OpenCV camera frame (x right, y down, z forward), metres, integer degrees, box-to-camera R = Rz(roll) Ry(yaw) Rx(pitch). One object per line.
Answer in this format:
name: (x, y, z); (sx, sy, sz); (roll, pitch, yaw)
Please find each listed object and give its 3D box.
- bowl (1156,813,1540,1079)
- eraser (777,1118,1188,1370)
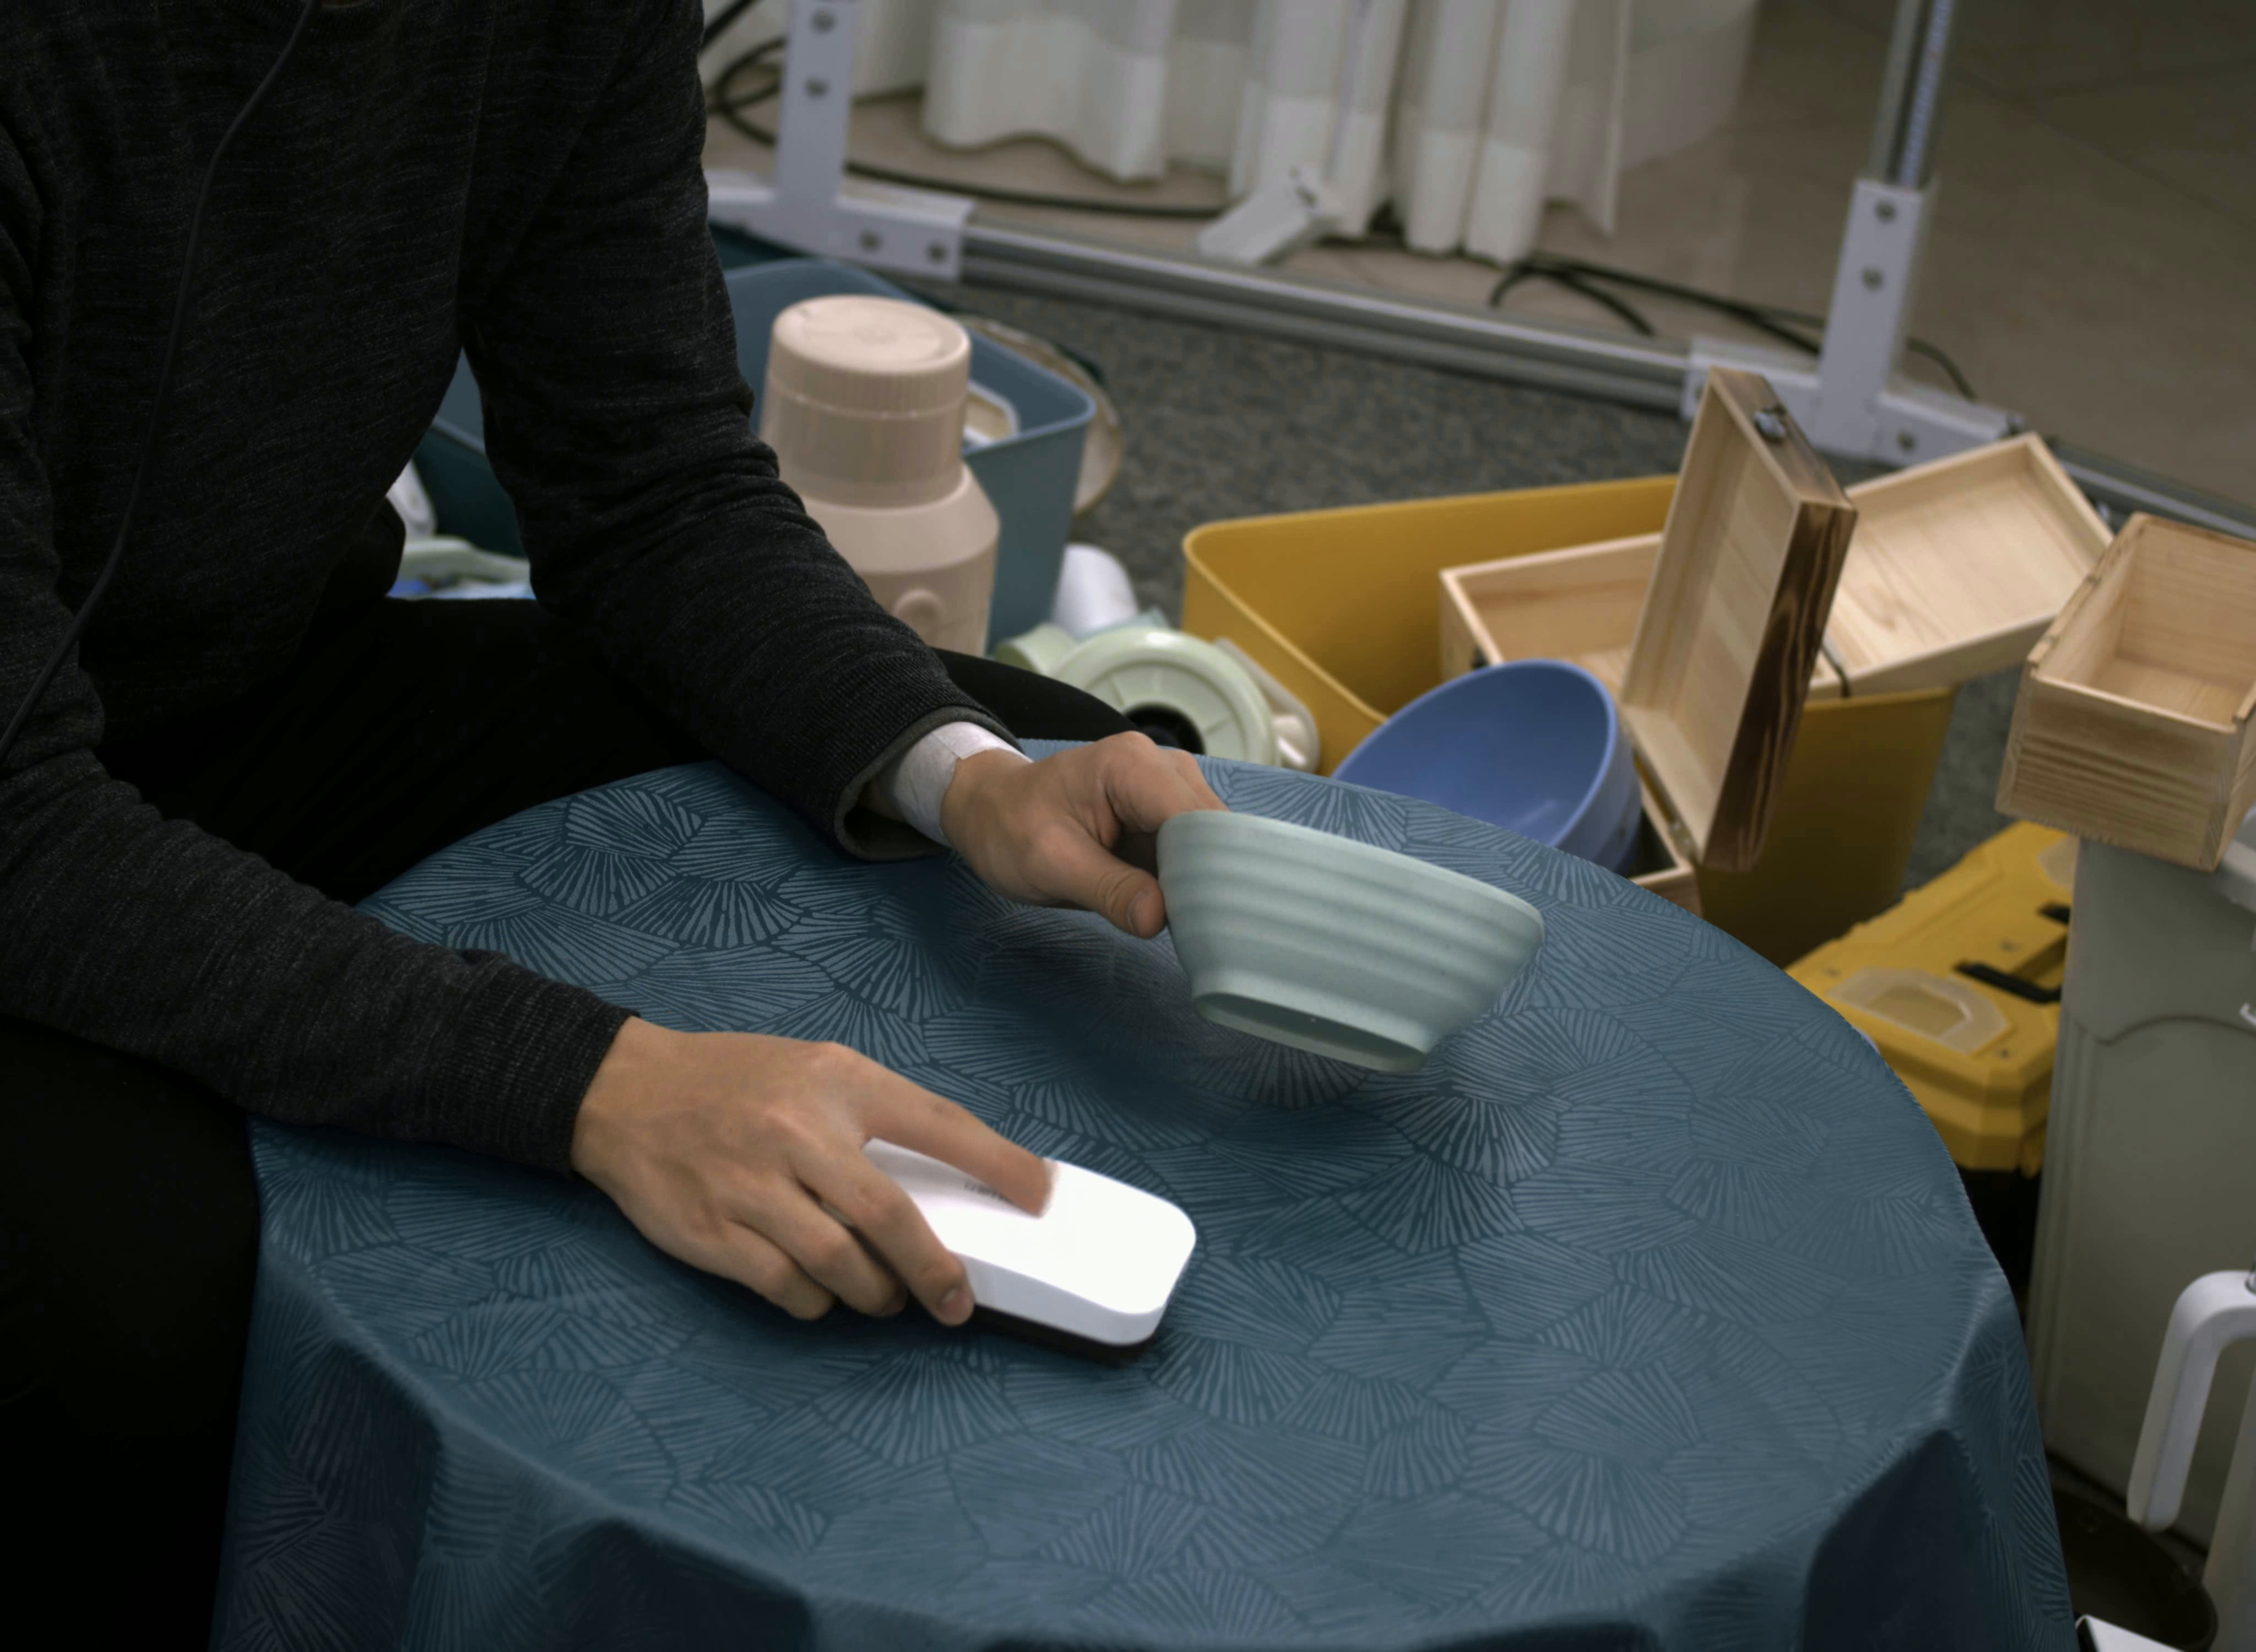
bowl: (0.069, 0.047, 1.857); (0.151, 0.059, 0.151); (17, -10, 3)
eraser: (-0.047, 0.133, 1.727); (0.131, 0.034, 0.063); (18, 34, 13)
